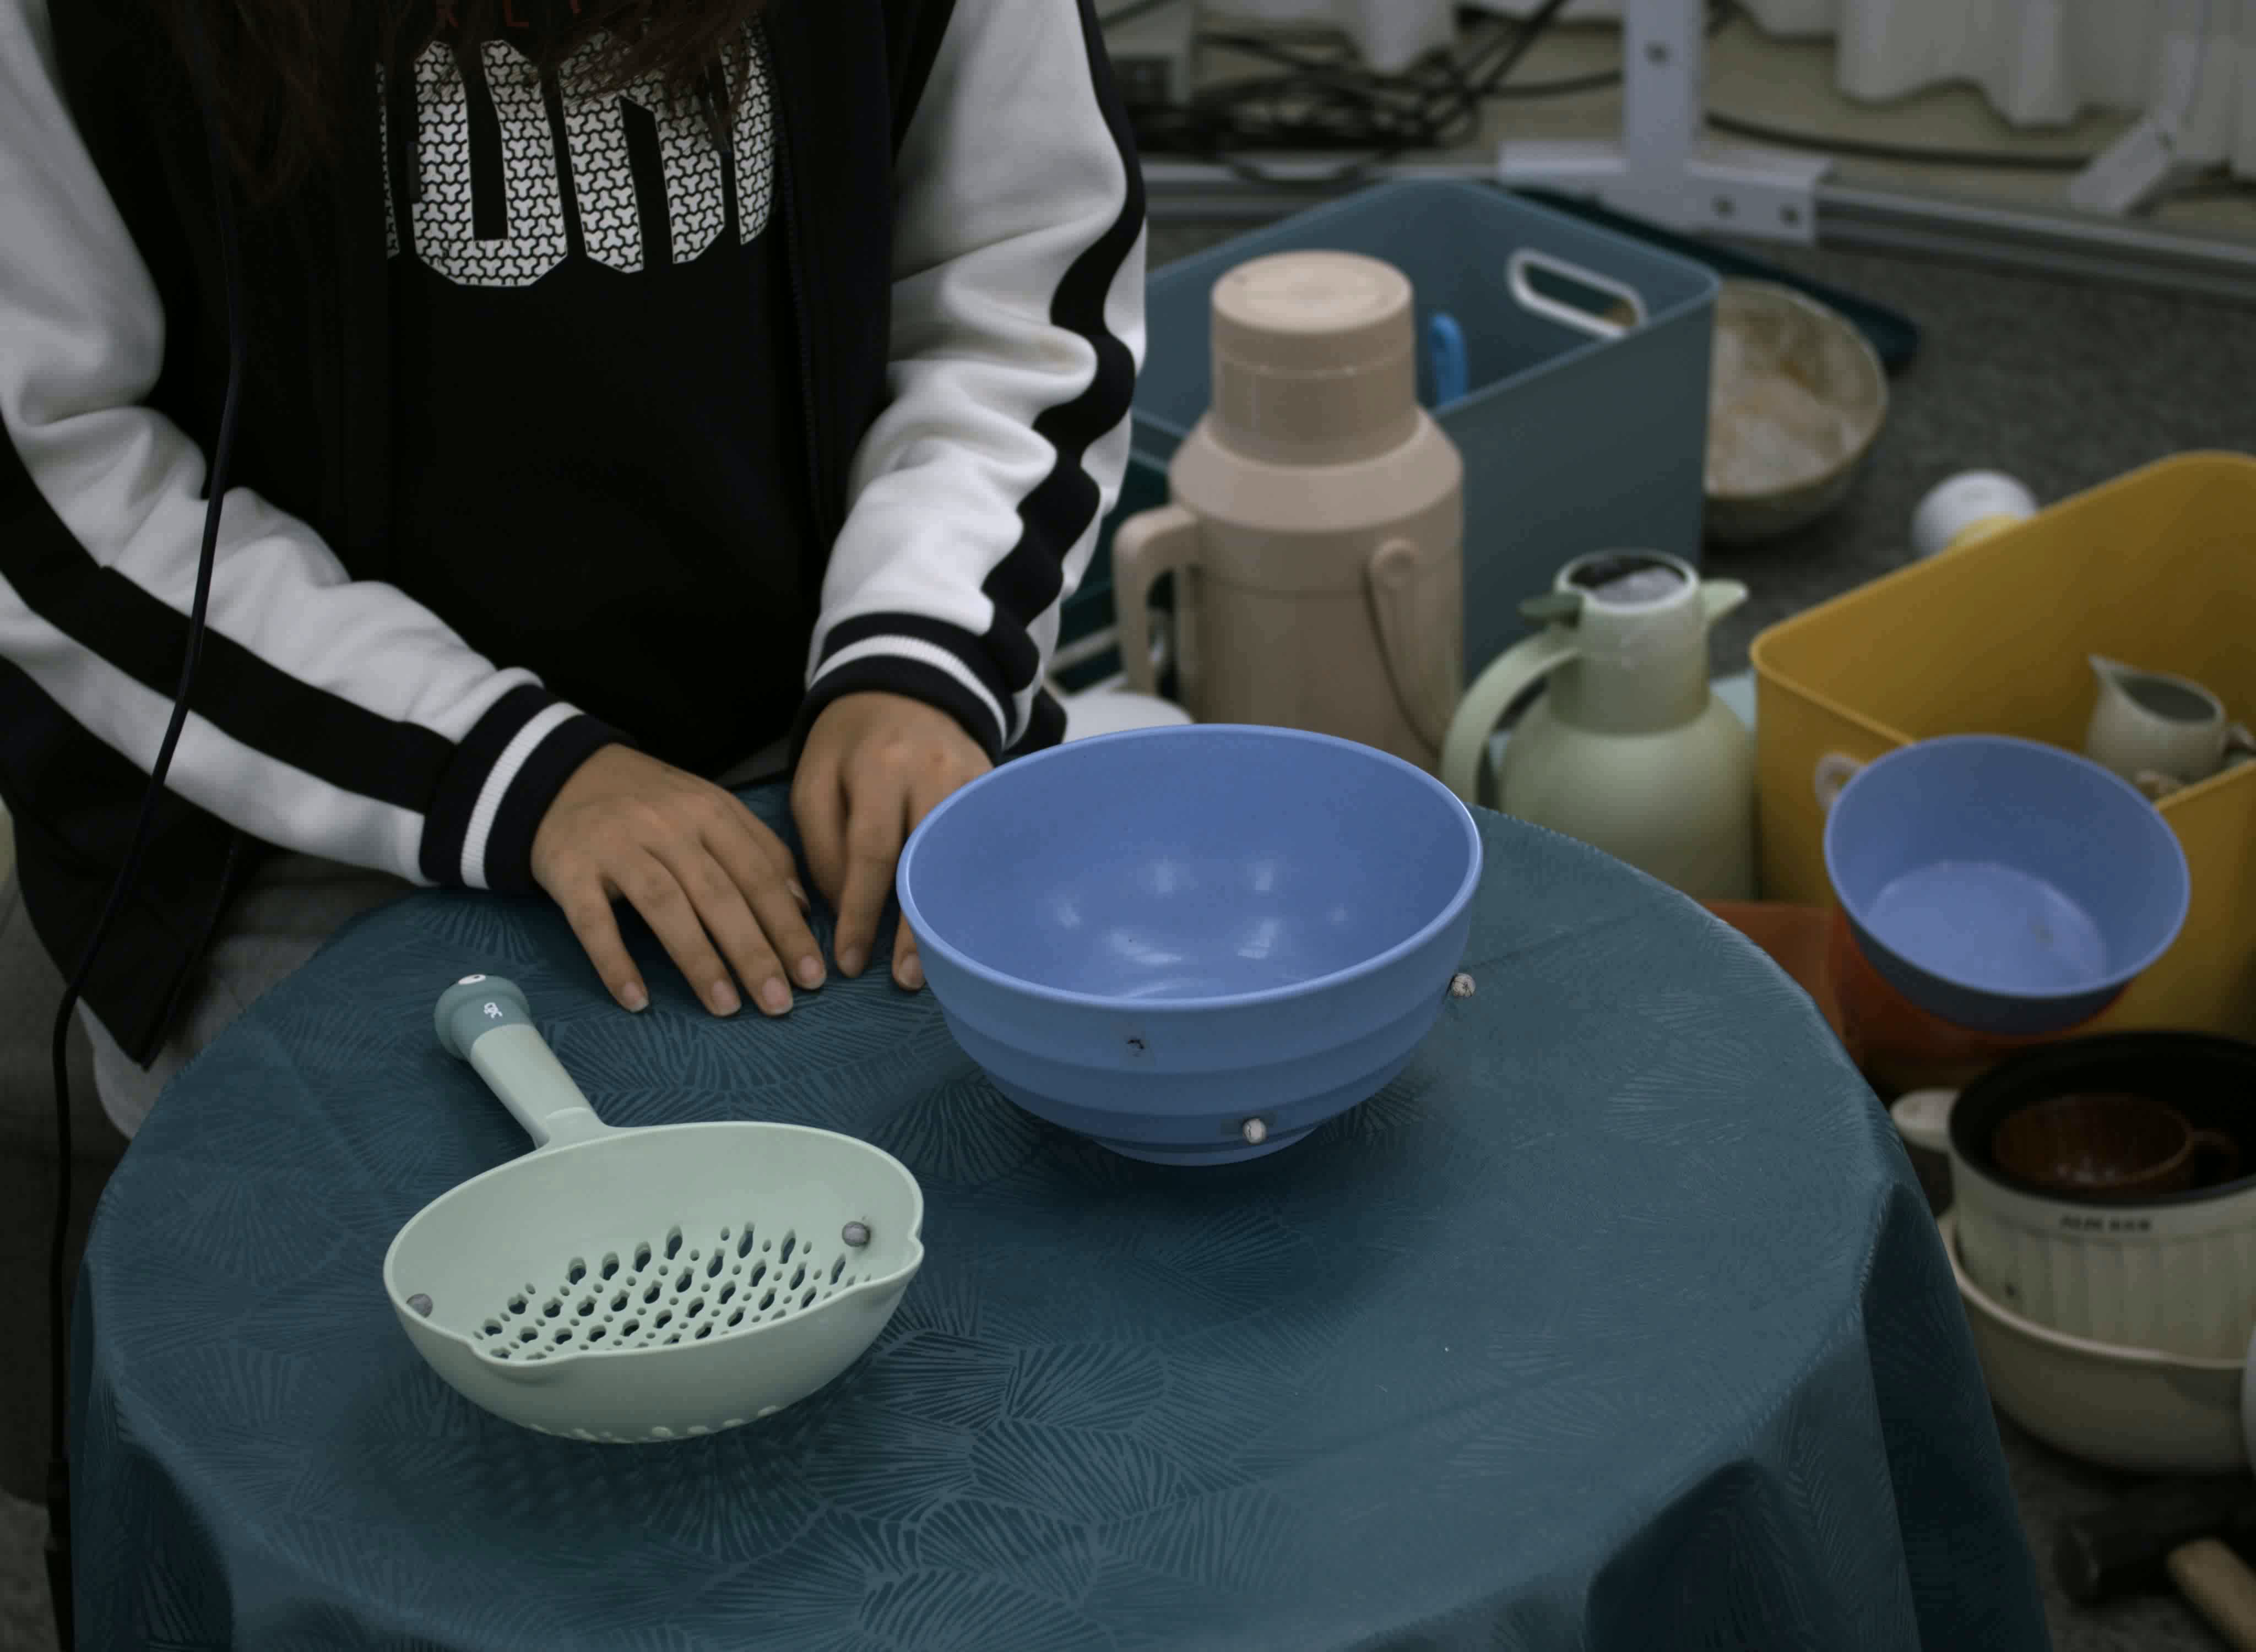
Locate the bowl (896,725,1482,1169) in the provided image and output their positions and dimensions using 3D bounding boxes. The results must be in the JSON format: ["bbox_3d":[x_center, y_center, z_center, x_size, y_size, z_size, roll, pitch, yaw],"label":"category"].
[{"bbox_3d":[0.023,0.052,1.893,0.195,0.094,0.199,-3,27,2],"label":"bowl"}]

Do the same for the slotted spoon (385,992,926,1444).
[{"bbox_3d":[-0.178,0.112,1.835,0.169,0.074,0.361,-11,27,-17],"label":"slotted spoon"}]
